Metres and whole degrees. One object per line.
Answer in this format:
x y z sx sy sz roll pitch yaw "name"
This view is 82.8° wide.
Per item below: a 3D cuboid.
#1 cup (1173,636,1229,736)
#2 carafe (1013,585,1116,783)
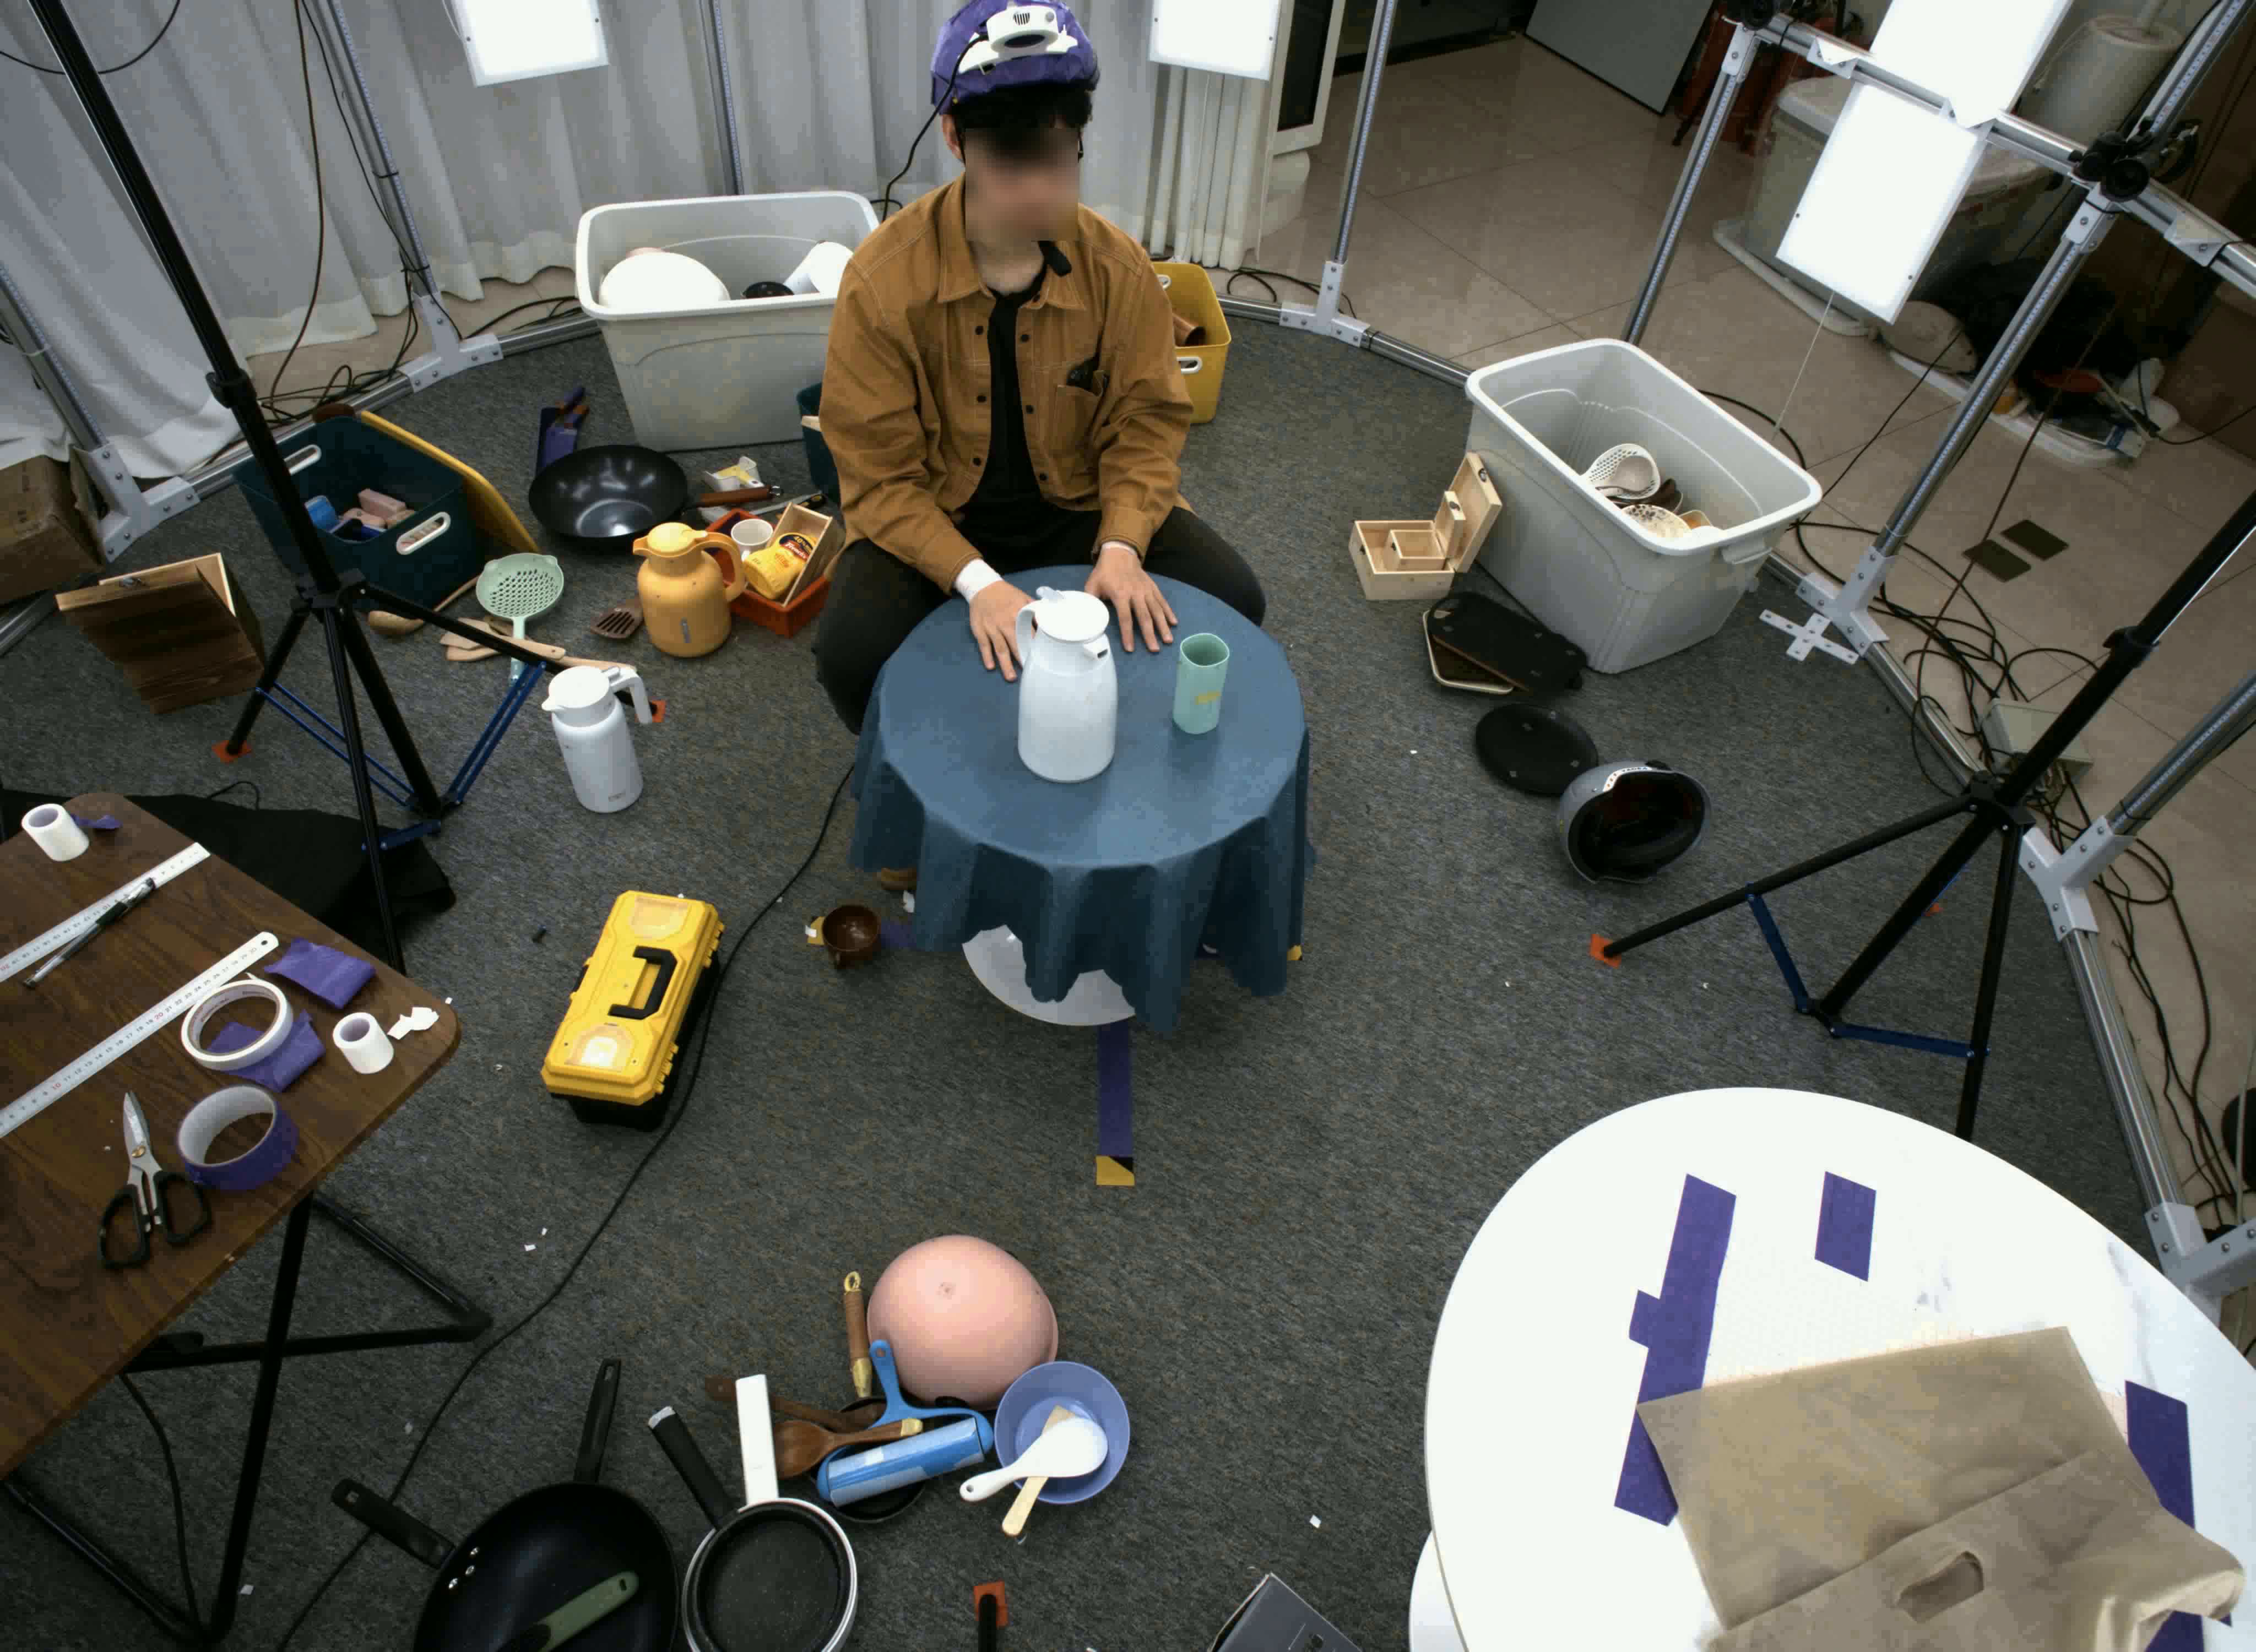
0.099 -0.192 1.762 0.066 0.129 0.068 2 50 -3 "cup"
-0.092 -0.196 1.674 0.133 0.242 0.170 -32 58 -27 "carafe"
